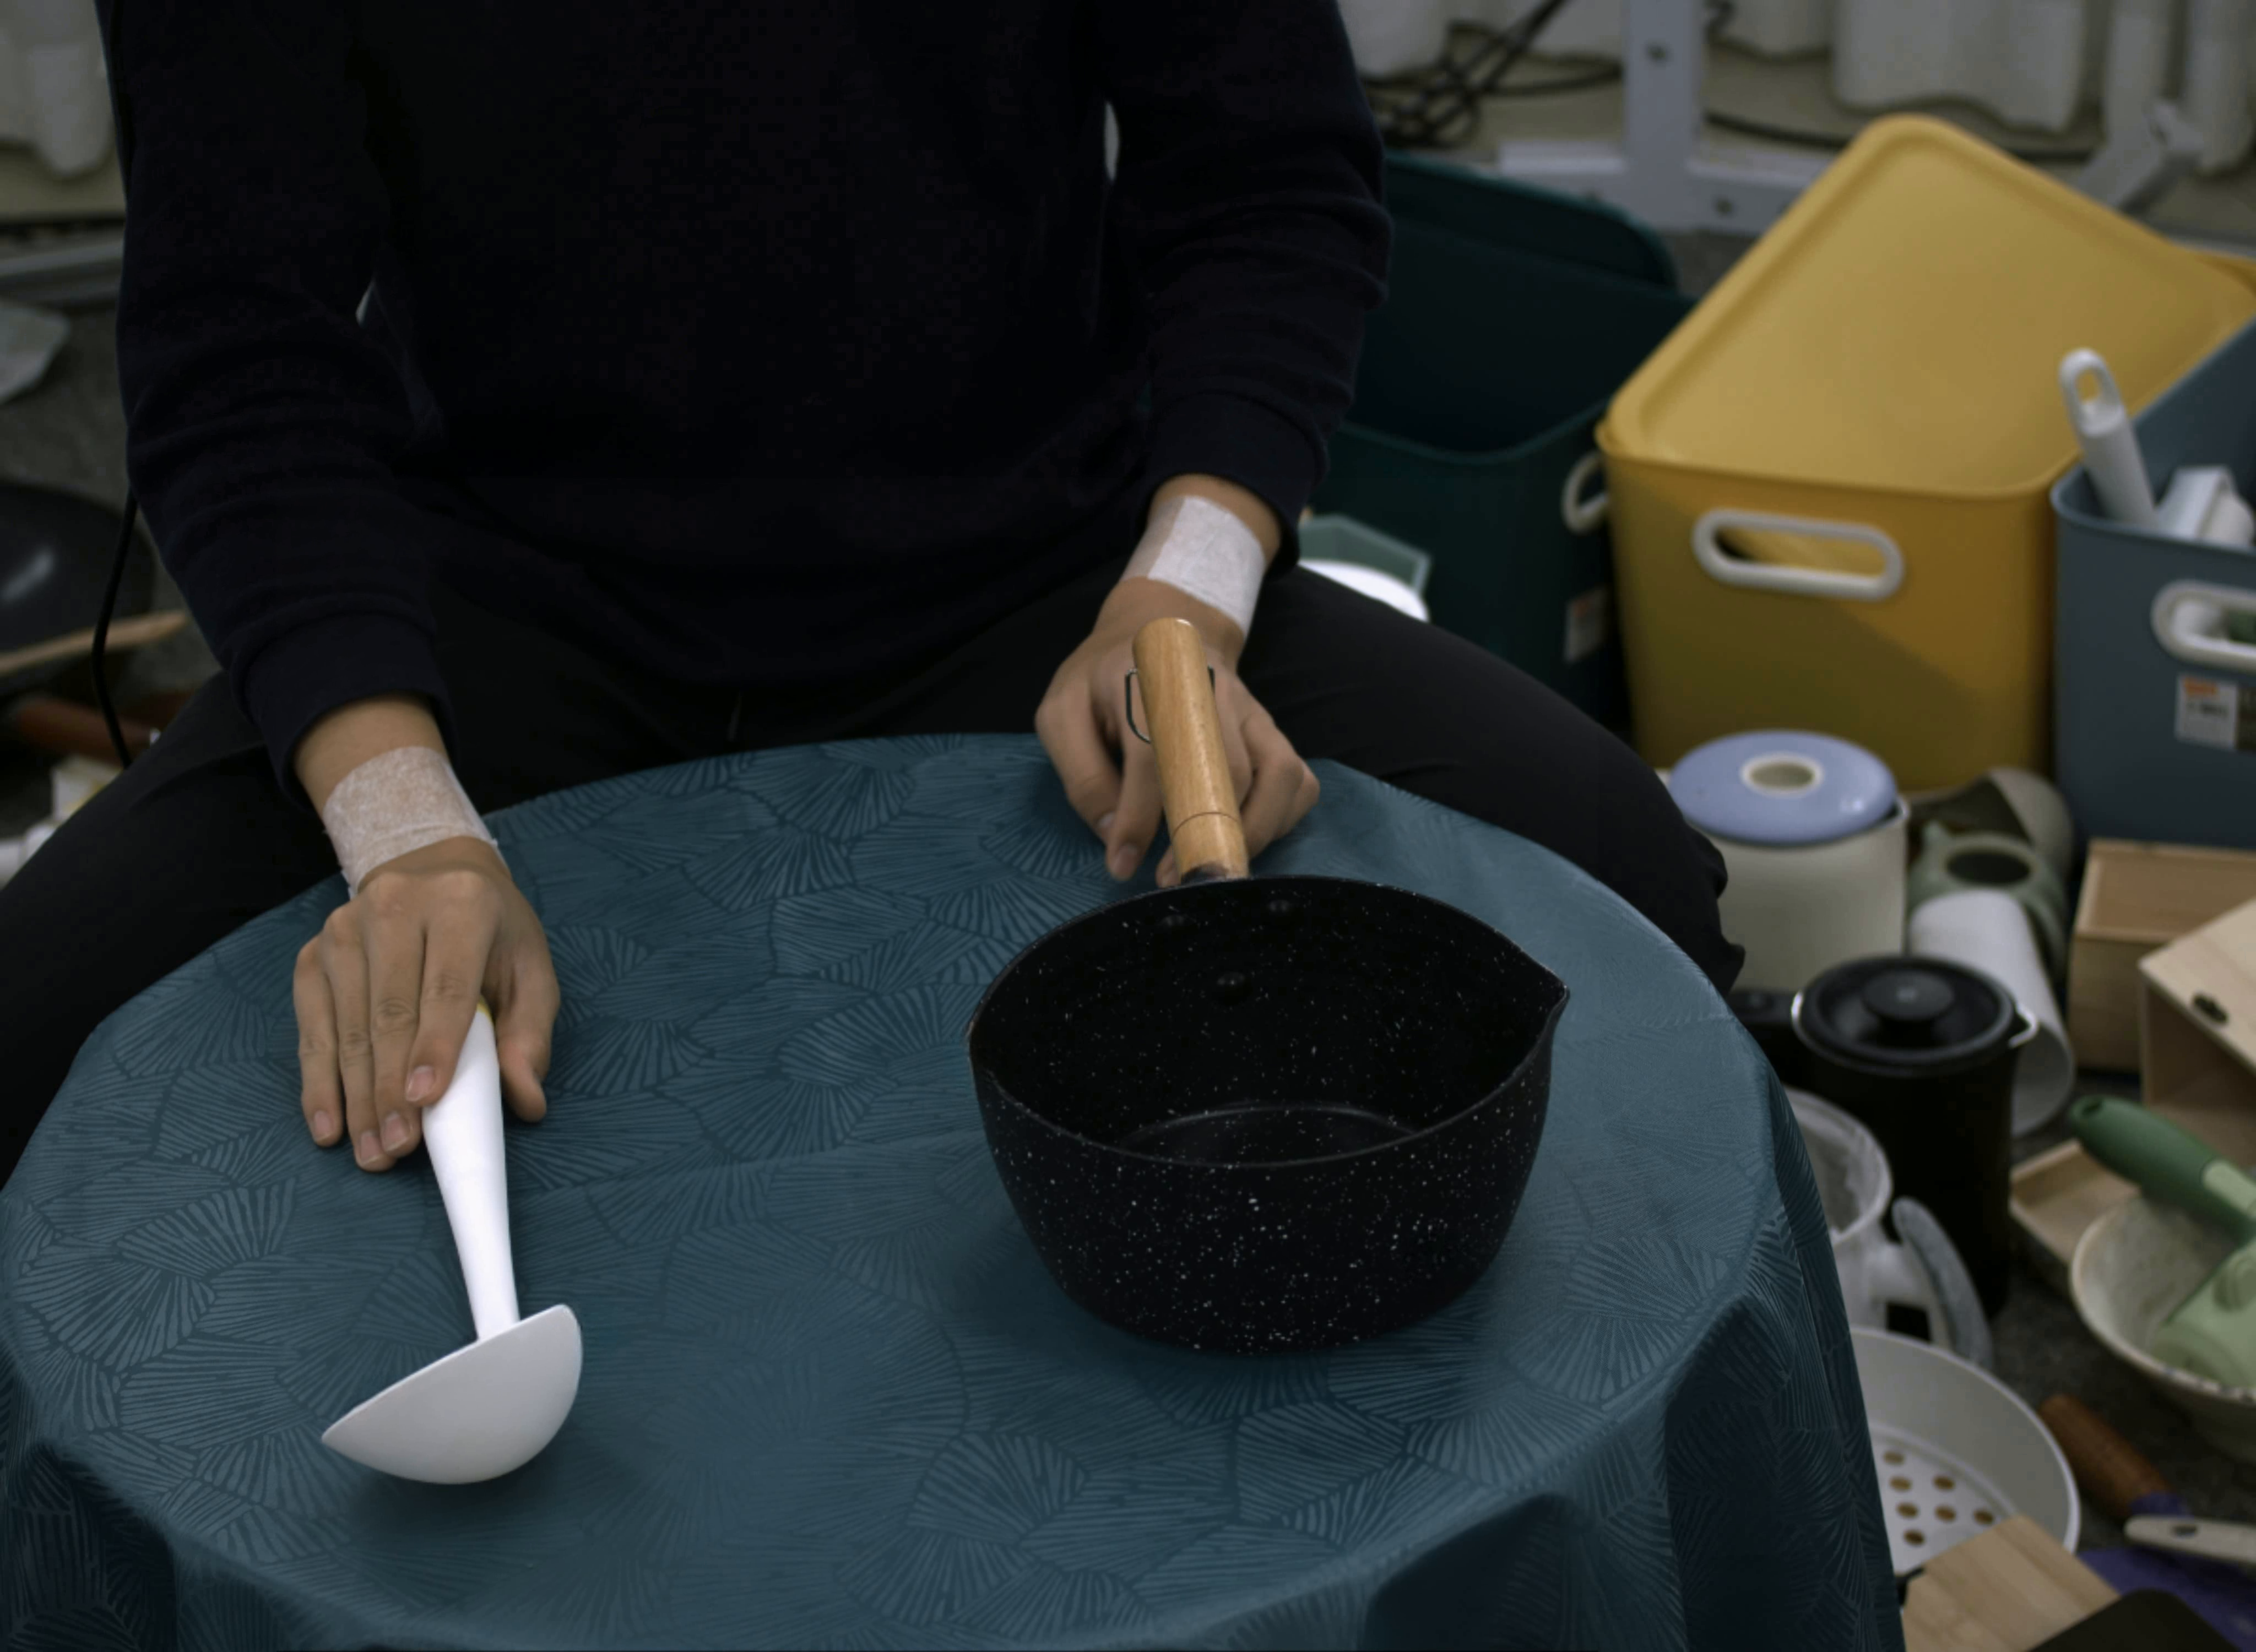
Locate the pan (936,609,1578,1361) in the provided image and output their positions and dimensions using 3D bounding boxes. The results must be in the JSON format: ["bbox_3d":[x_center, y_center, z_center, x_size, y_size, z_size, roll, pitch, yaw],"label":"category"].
[{"bbox_3d":[0.033,0.050,1.882,0.207,0.107,0.347,-7,29,-5],"label":"pan"}]

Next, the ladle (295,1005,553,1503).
[{"bbox_3d":[-0.225,0.128,1.817,0.089,0.069,0.297,-35,26,9],"label":"ladle"}]
